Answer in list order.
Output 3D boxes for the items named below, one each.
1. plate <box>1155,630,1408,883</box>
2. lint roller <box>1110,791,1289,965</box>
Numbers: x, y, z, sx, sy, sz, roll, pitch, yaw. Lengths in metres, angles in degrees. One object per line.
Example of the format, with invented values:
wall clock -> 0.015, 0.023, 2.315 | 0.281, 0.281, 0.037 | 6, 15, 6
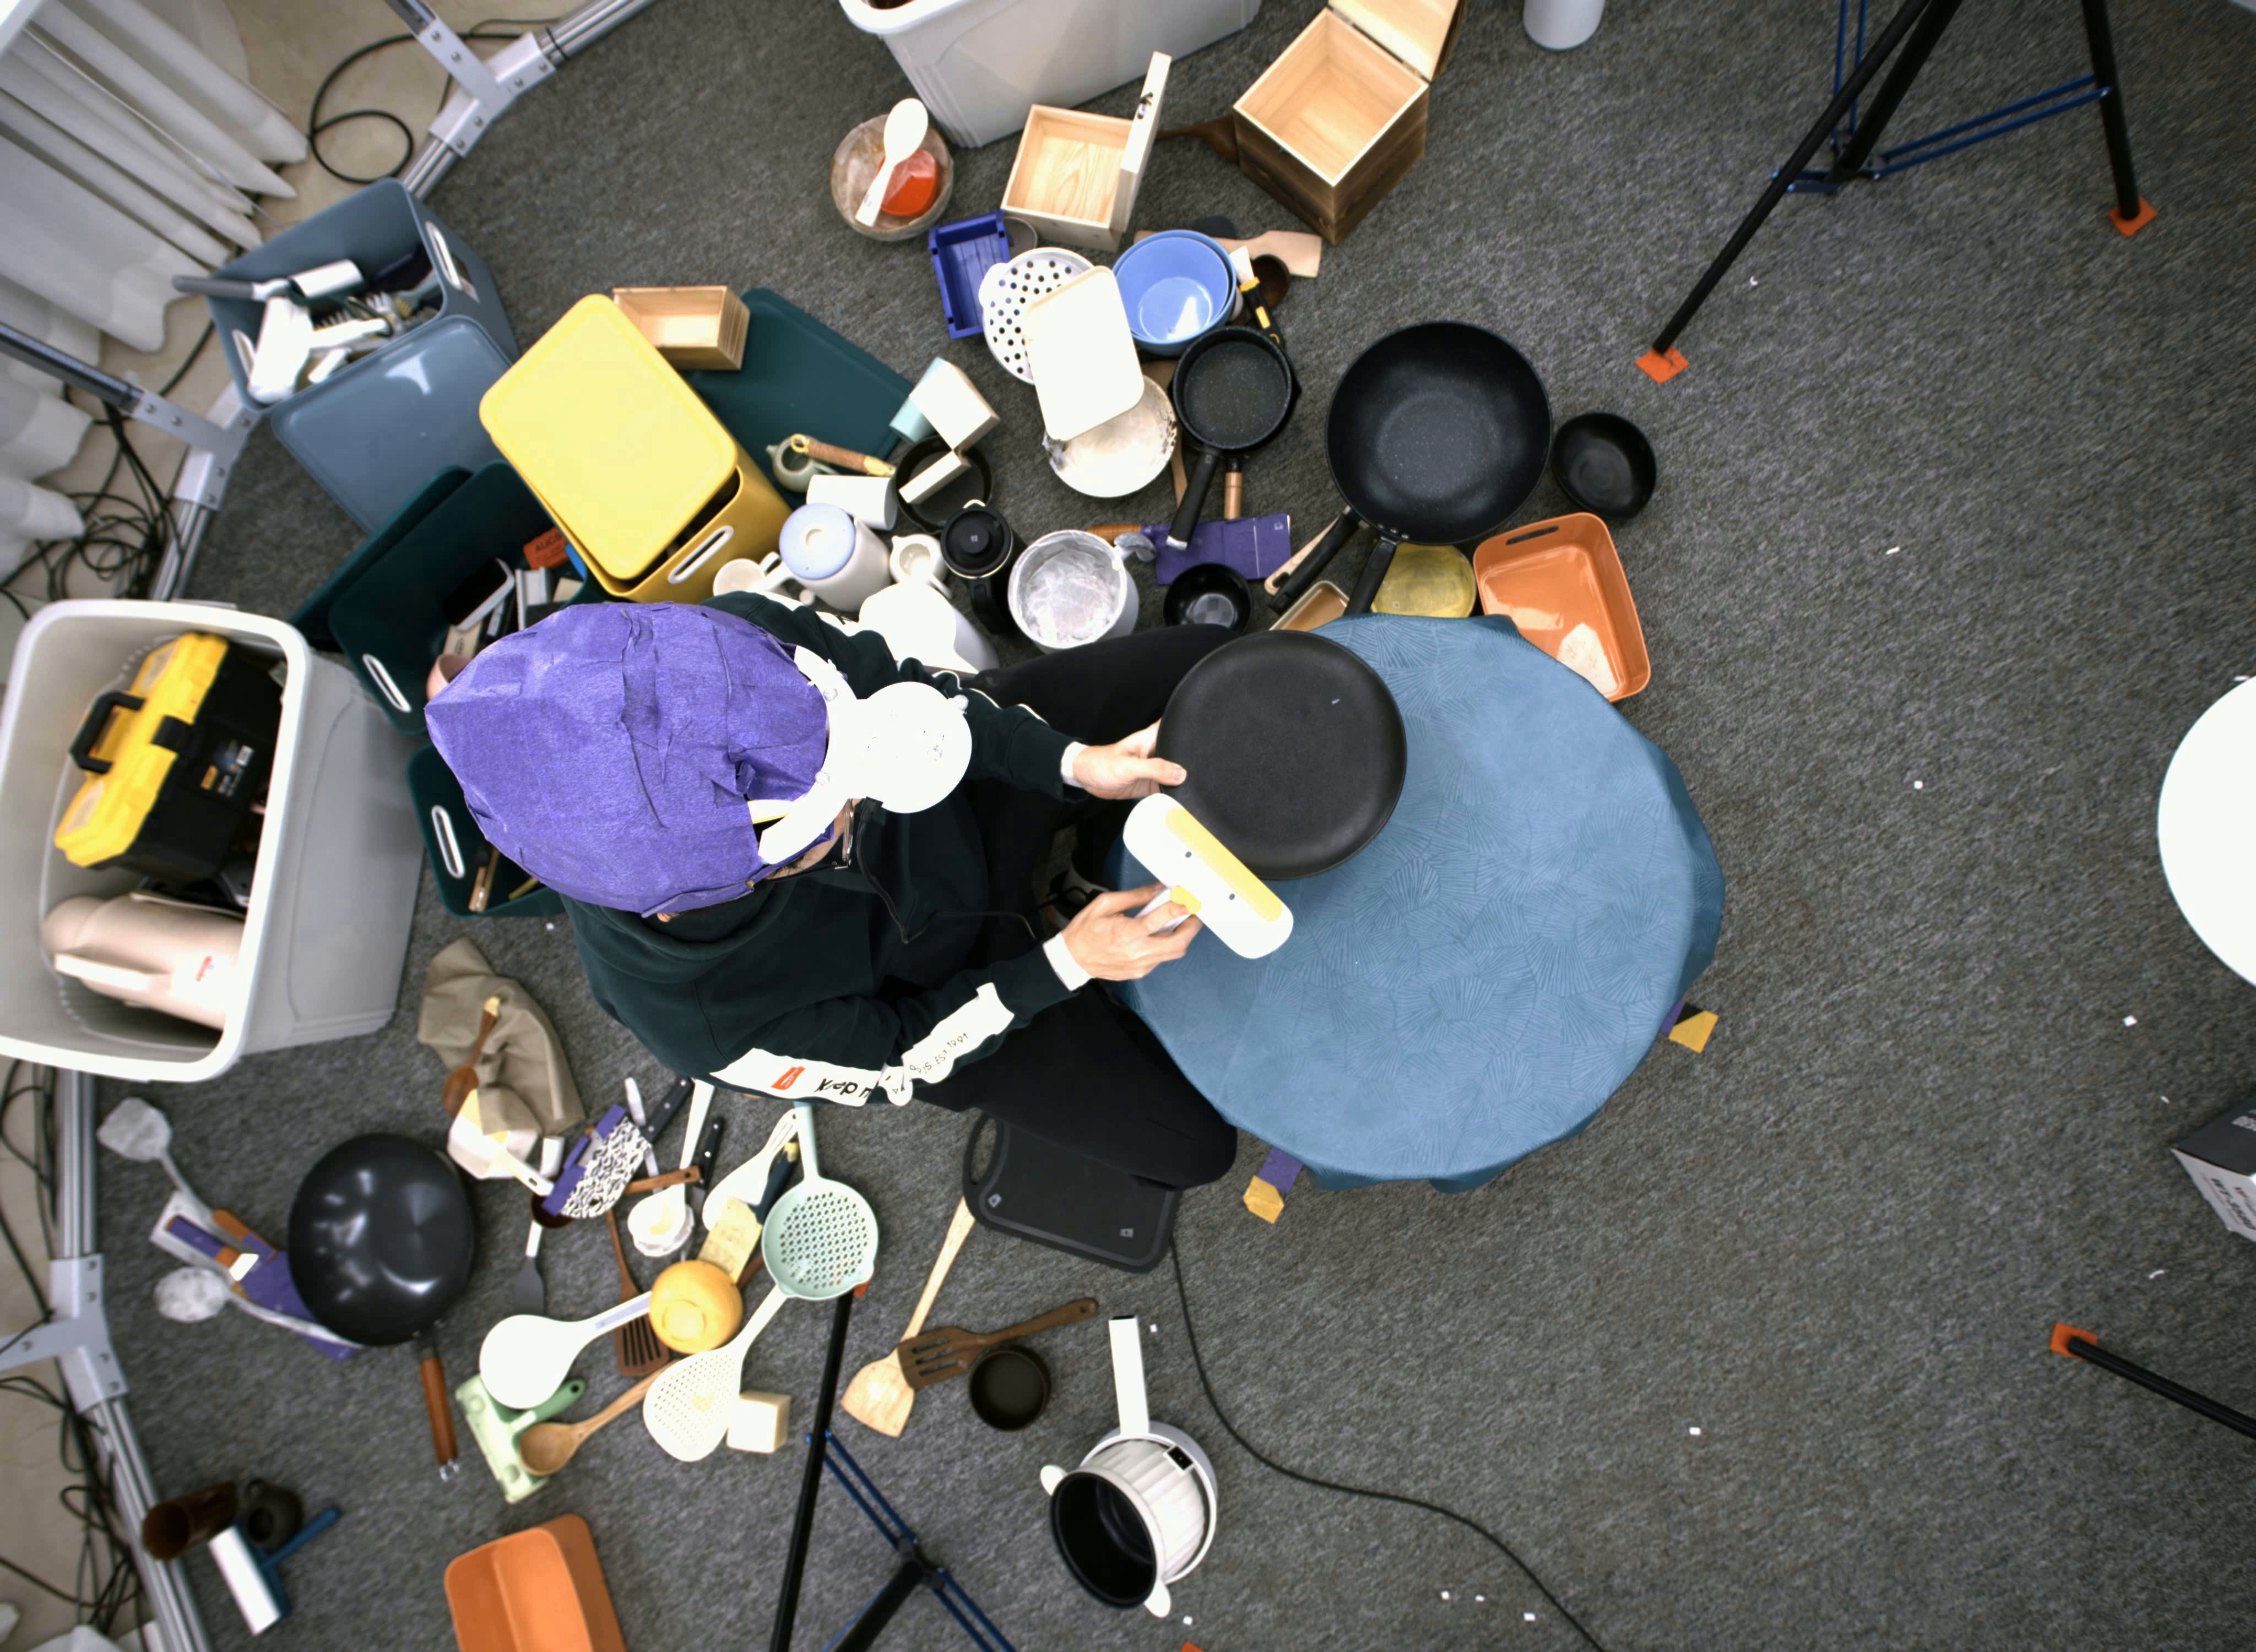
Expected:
plate -> 0.147, -0.068, 1.334 | 0.245, 0.023, 0.244 | 0, 93, 12
lint roller -> 0.043, 0.075, 1.367 | 0.193, 0.197, 0.072 | 37, 53, -4
